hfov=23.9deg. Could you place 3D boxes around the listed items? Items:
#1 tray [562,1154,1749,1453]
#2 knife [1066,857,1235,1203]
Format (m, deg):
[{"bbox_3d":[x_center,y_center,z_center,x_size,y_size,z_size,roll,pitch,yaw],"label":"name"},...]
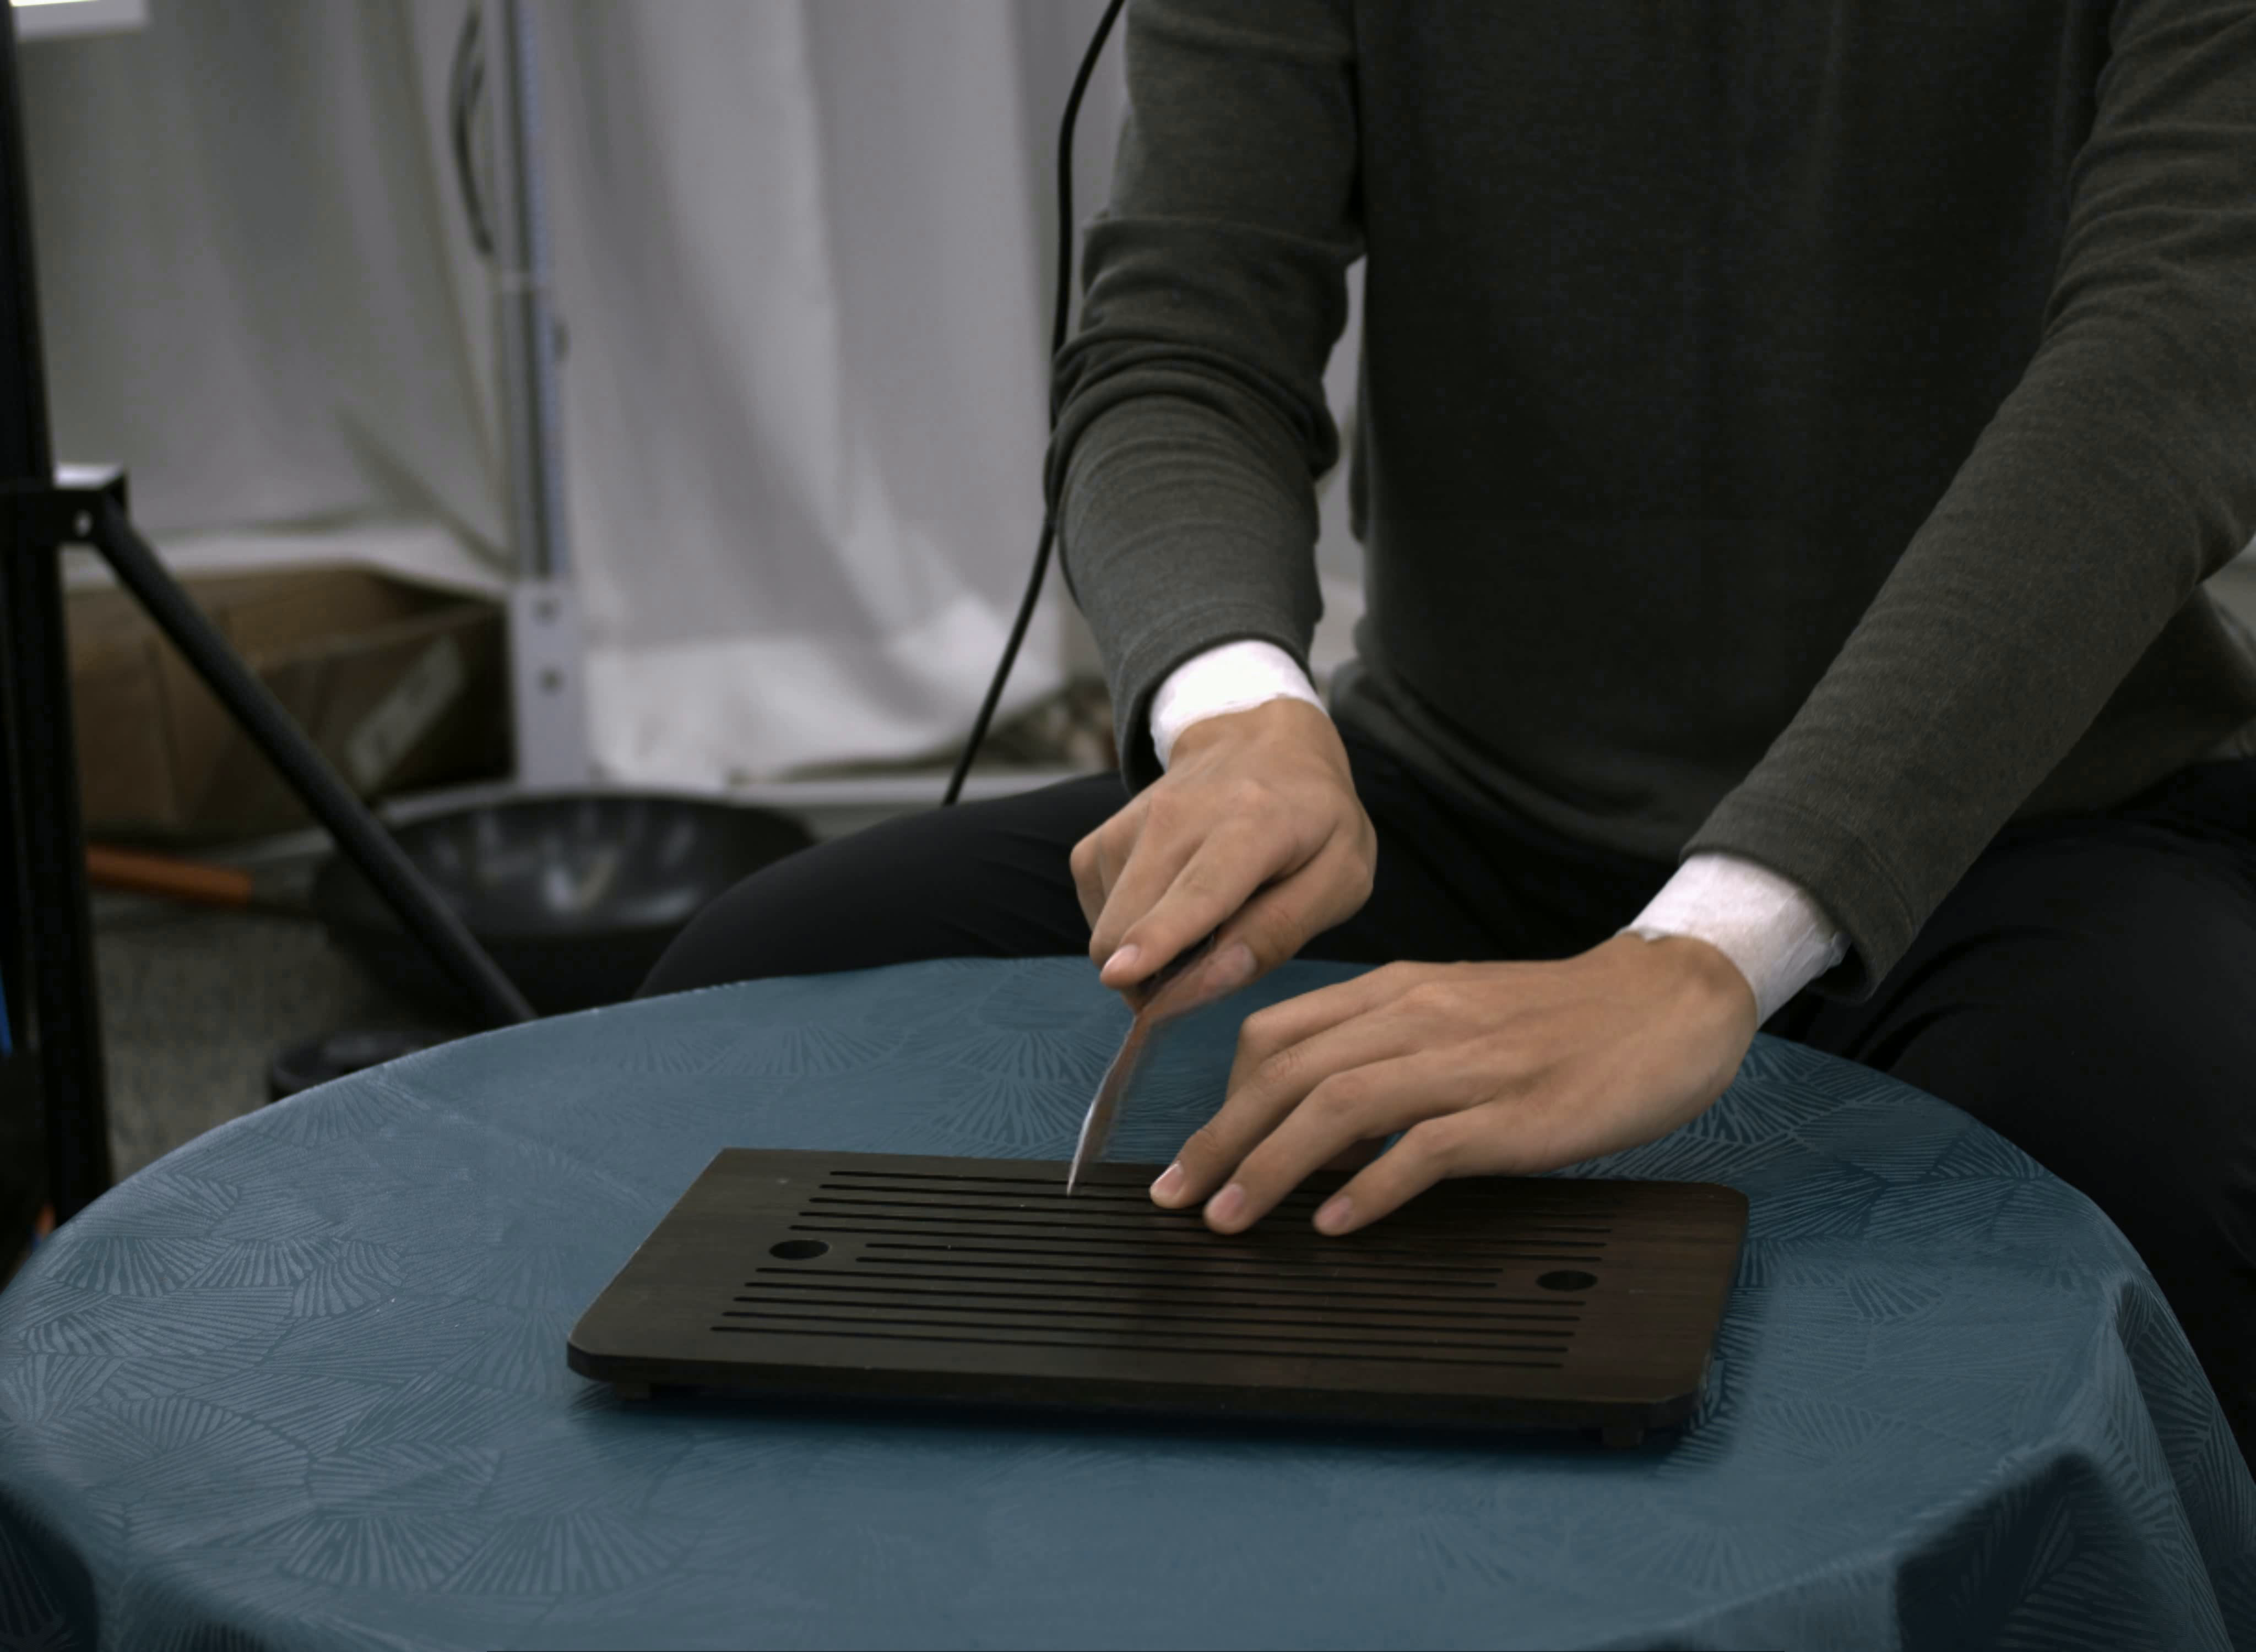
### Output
[{"bbox_3d":[0.012,0.129,1.452,0.308,0.018,0.169,2,16,13],"label":"tray"},{"bbox_3d":[0.006,0.055,1.507,0.016,0.024,0.237,4,21,9],"label":"knife"}]
